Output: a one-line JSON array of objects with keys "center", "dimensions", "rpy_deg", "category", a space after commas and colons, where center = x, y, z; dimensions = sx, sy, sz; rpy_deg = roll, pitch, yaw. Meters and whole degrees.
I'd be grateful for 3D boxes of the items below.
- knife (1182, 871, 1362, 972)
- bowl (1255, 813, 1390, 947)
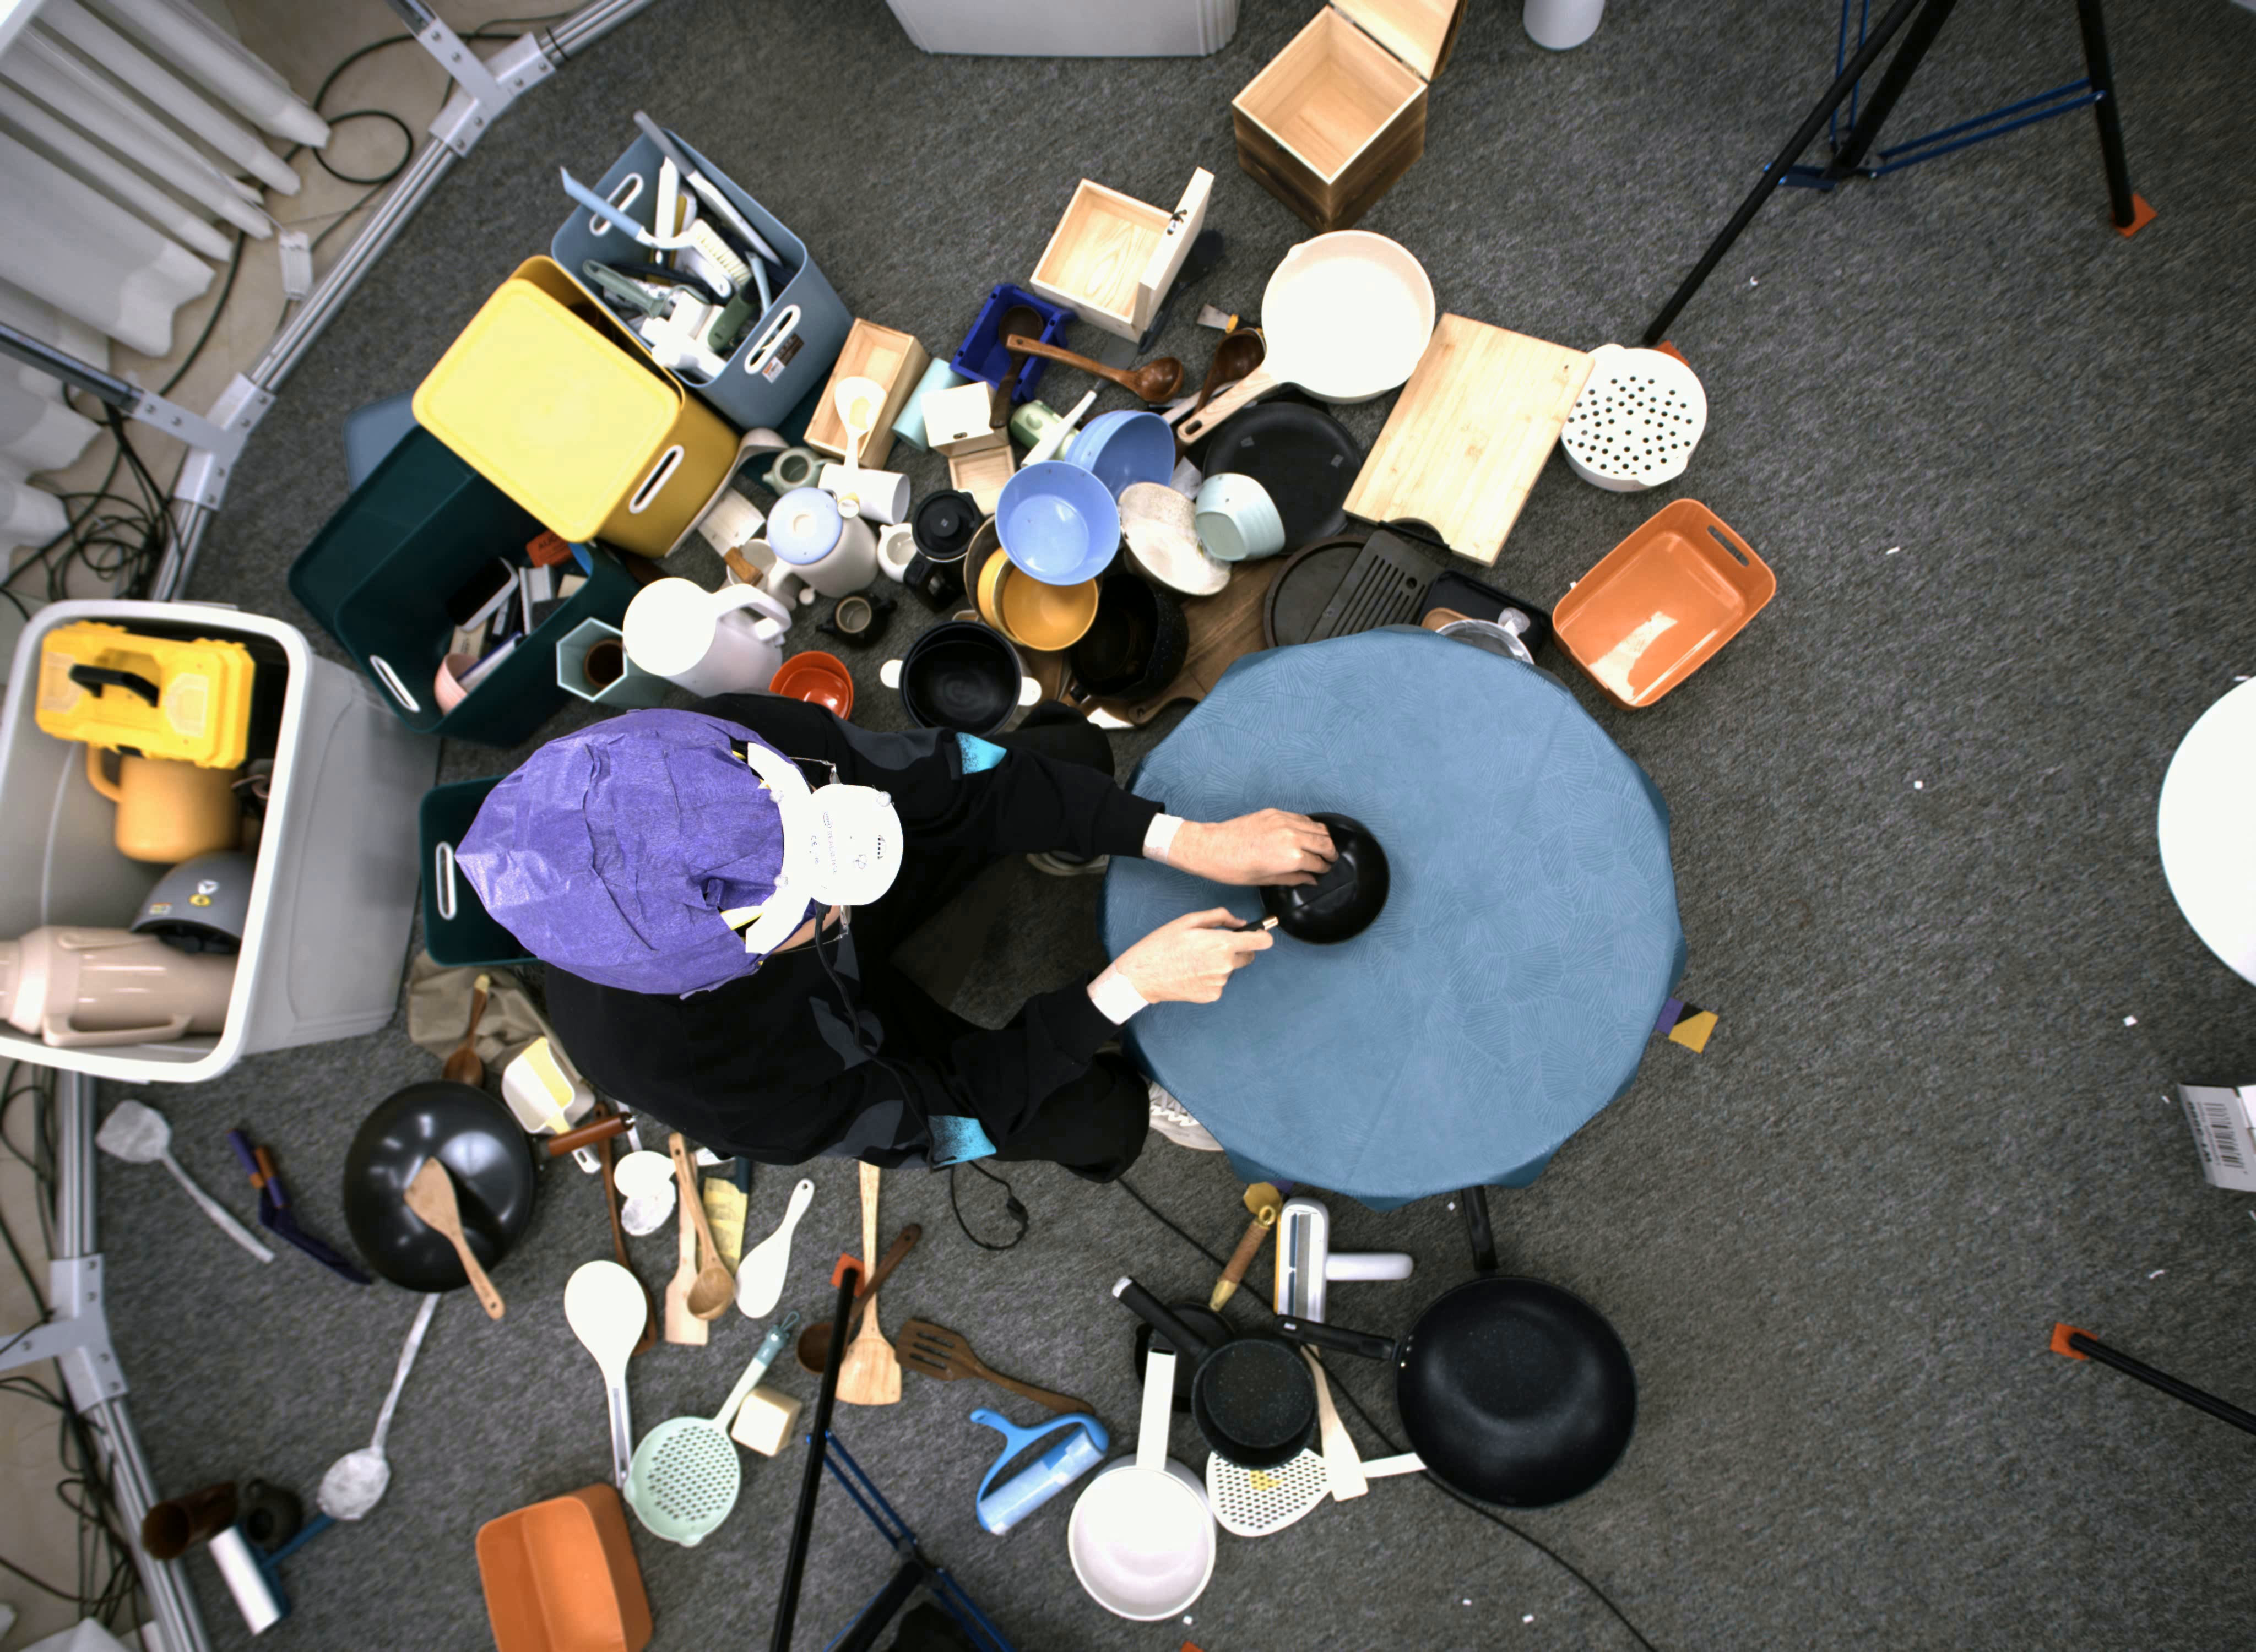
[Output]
[{"center": [0.149, 0.093, 1.408], "dimensions": [0.223, 0.026, 0.017], "rpy_deg": [-26, 91, -16], "category": "knife"}, {"center": [0.205, 0.056, 1.451], "dimensions": [0.140, 0.049, 0.139], "rpy_deg": [-1, 89, 14], "category": "bowl"}]
